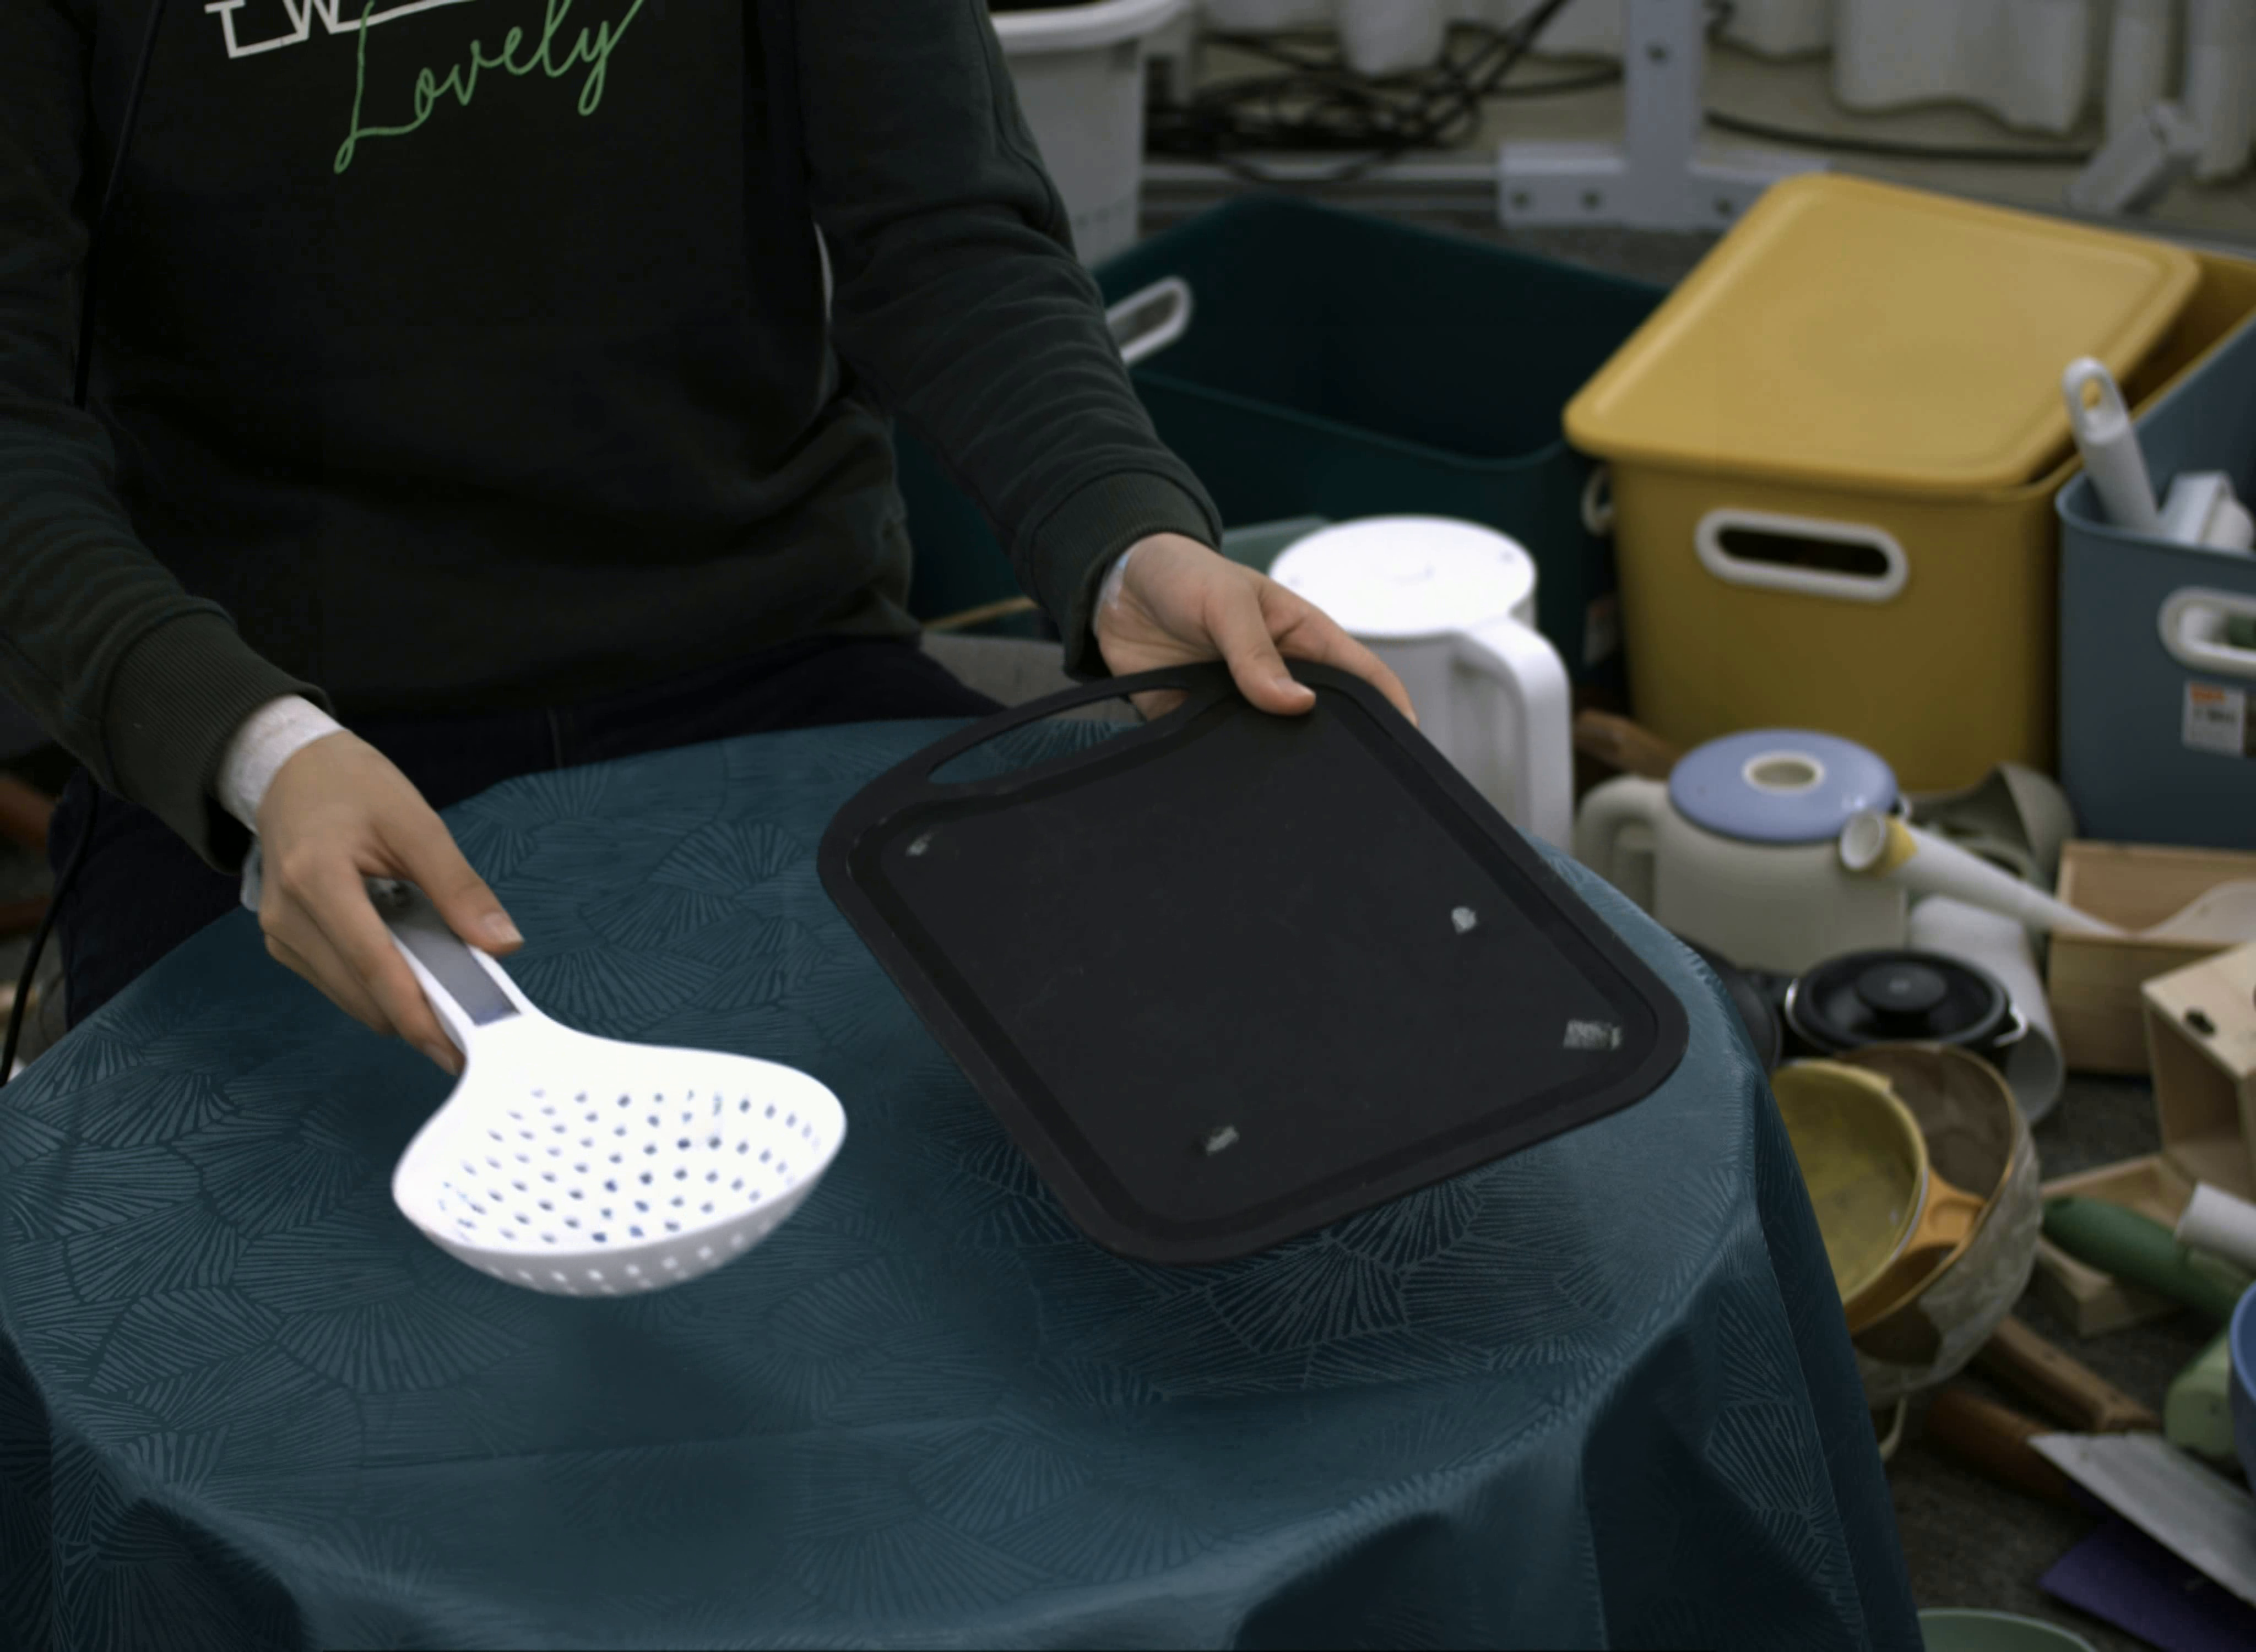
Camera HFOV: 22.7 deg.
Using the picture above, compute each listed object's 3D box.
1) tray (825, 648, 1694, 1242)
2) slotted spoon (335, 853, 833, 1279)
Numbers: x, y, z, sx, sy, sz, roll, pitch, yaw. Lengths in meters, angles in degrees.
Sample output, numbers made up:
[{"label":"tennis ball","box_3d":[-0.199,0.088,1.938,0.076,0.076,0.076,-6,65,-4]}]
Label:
[{"label":"tray","box_3d":[0.032,0.028,1.844,0.212,0.009,0.328,-19,34,-16]},{"label":"slotted spoon","box_3d":[-0.196,0.068,1.778,0.136,0.045,0.352,-13,26,-19]}]
